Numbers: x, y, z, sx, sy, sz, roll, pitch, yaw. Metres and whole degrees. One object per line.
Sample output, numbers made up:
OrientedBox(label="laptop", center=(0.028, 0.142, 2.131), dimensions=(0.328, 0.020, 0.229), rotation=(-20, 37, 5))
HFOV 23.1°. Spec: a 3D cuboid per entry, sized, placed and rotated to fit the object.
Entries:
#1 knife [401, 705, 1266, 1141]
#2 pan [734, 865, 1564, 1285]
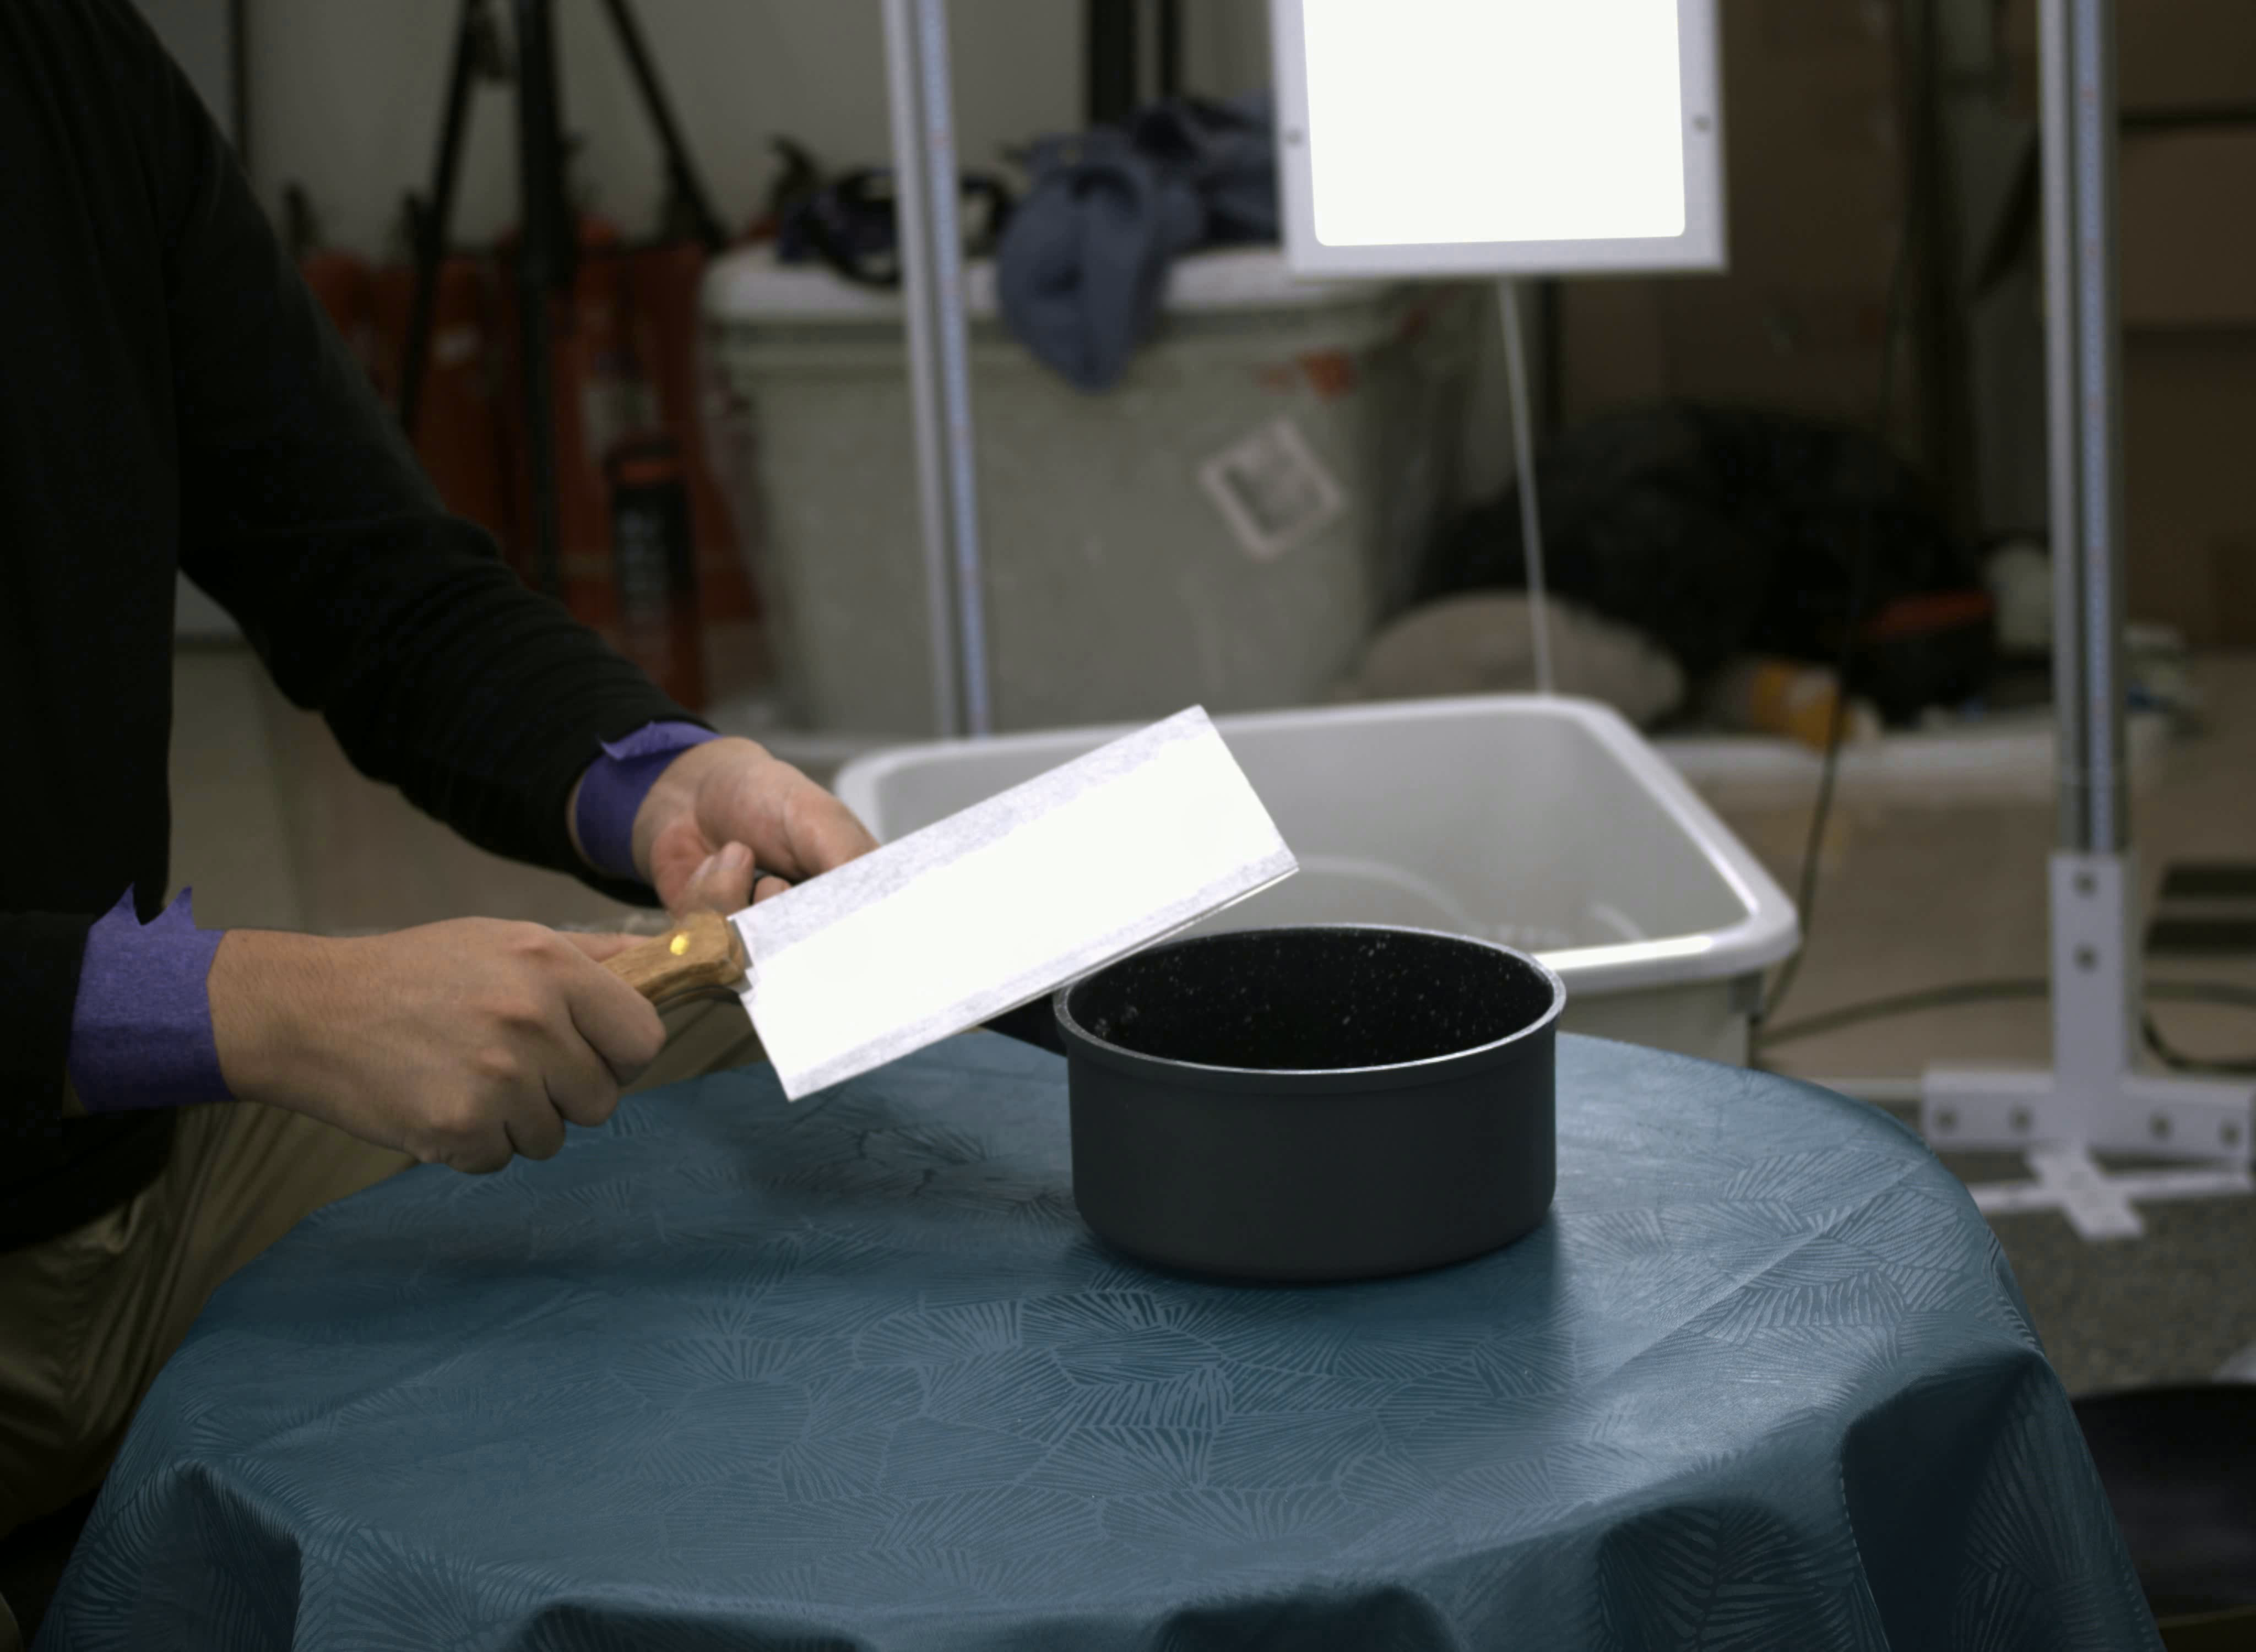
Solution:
OrientedBox(label="knife", center=(-0.097, 0.047, 1.871), dimensions=(0.304, 0.021, 0.093), rotation=(-25, 47, -4))
OrientedBox(label="pan", center=(-0.002, 0.079, 1.892), dimensions=(0.335, 0.087, 0.168), rotation=(10, 19, 36))
